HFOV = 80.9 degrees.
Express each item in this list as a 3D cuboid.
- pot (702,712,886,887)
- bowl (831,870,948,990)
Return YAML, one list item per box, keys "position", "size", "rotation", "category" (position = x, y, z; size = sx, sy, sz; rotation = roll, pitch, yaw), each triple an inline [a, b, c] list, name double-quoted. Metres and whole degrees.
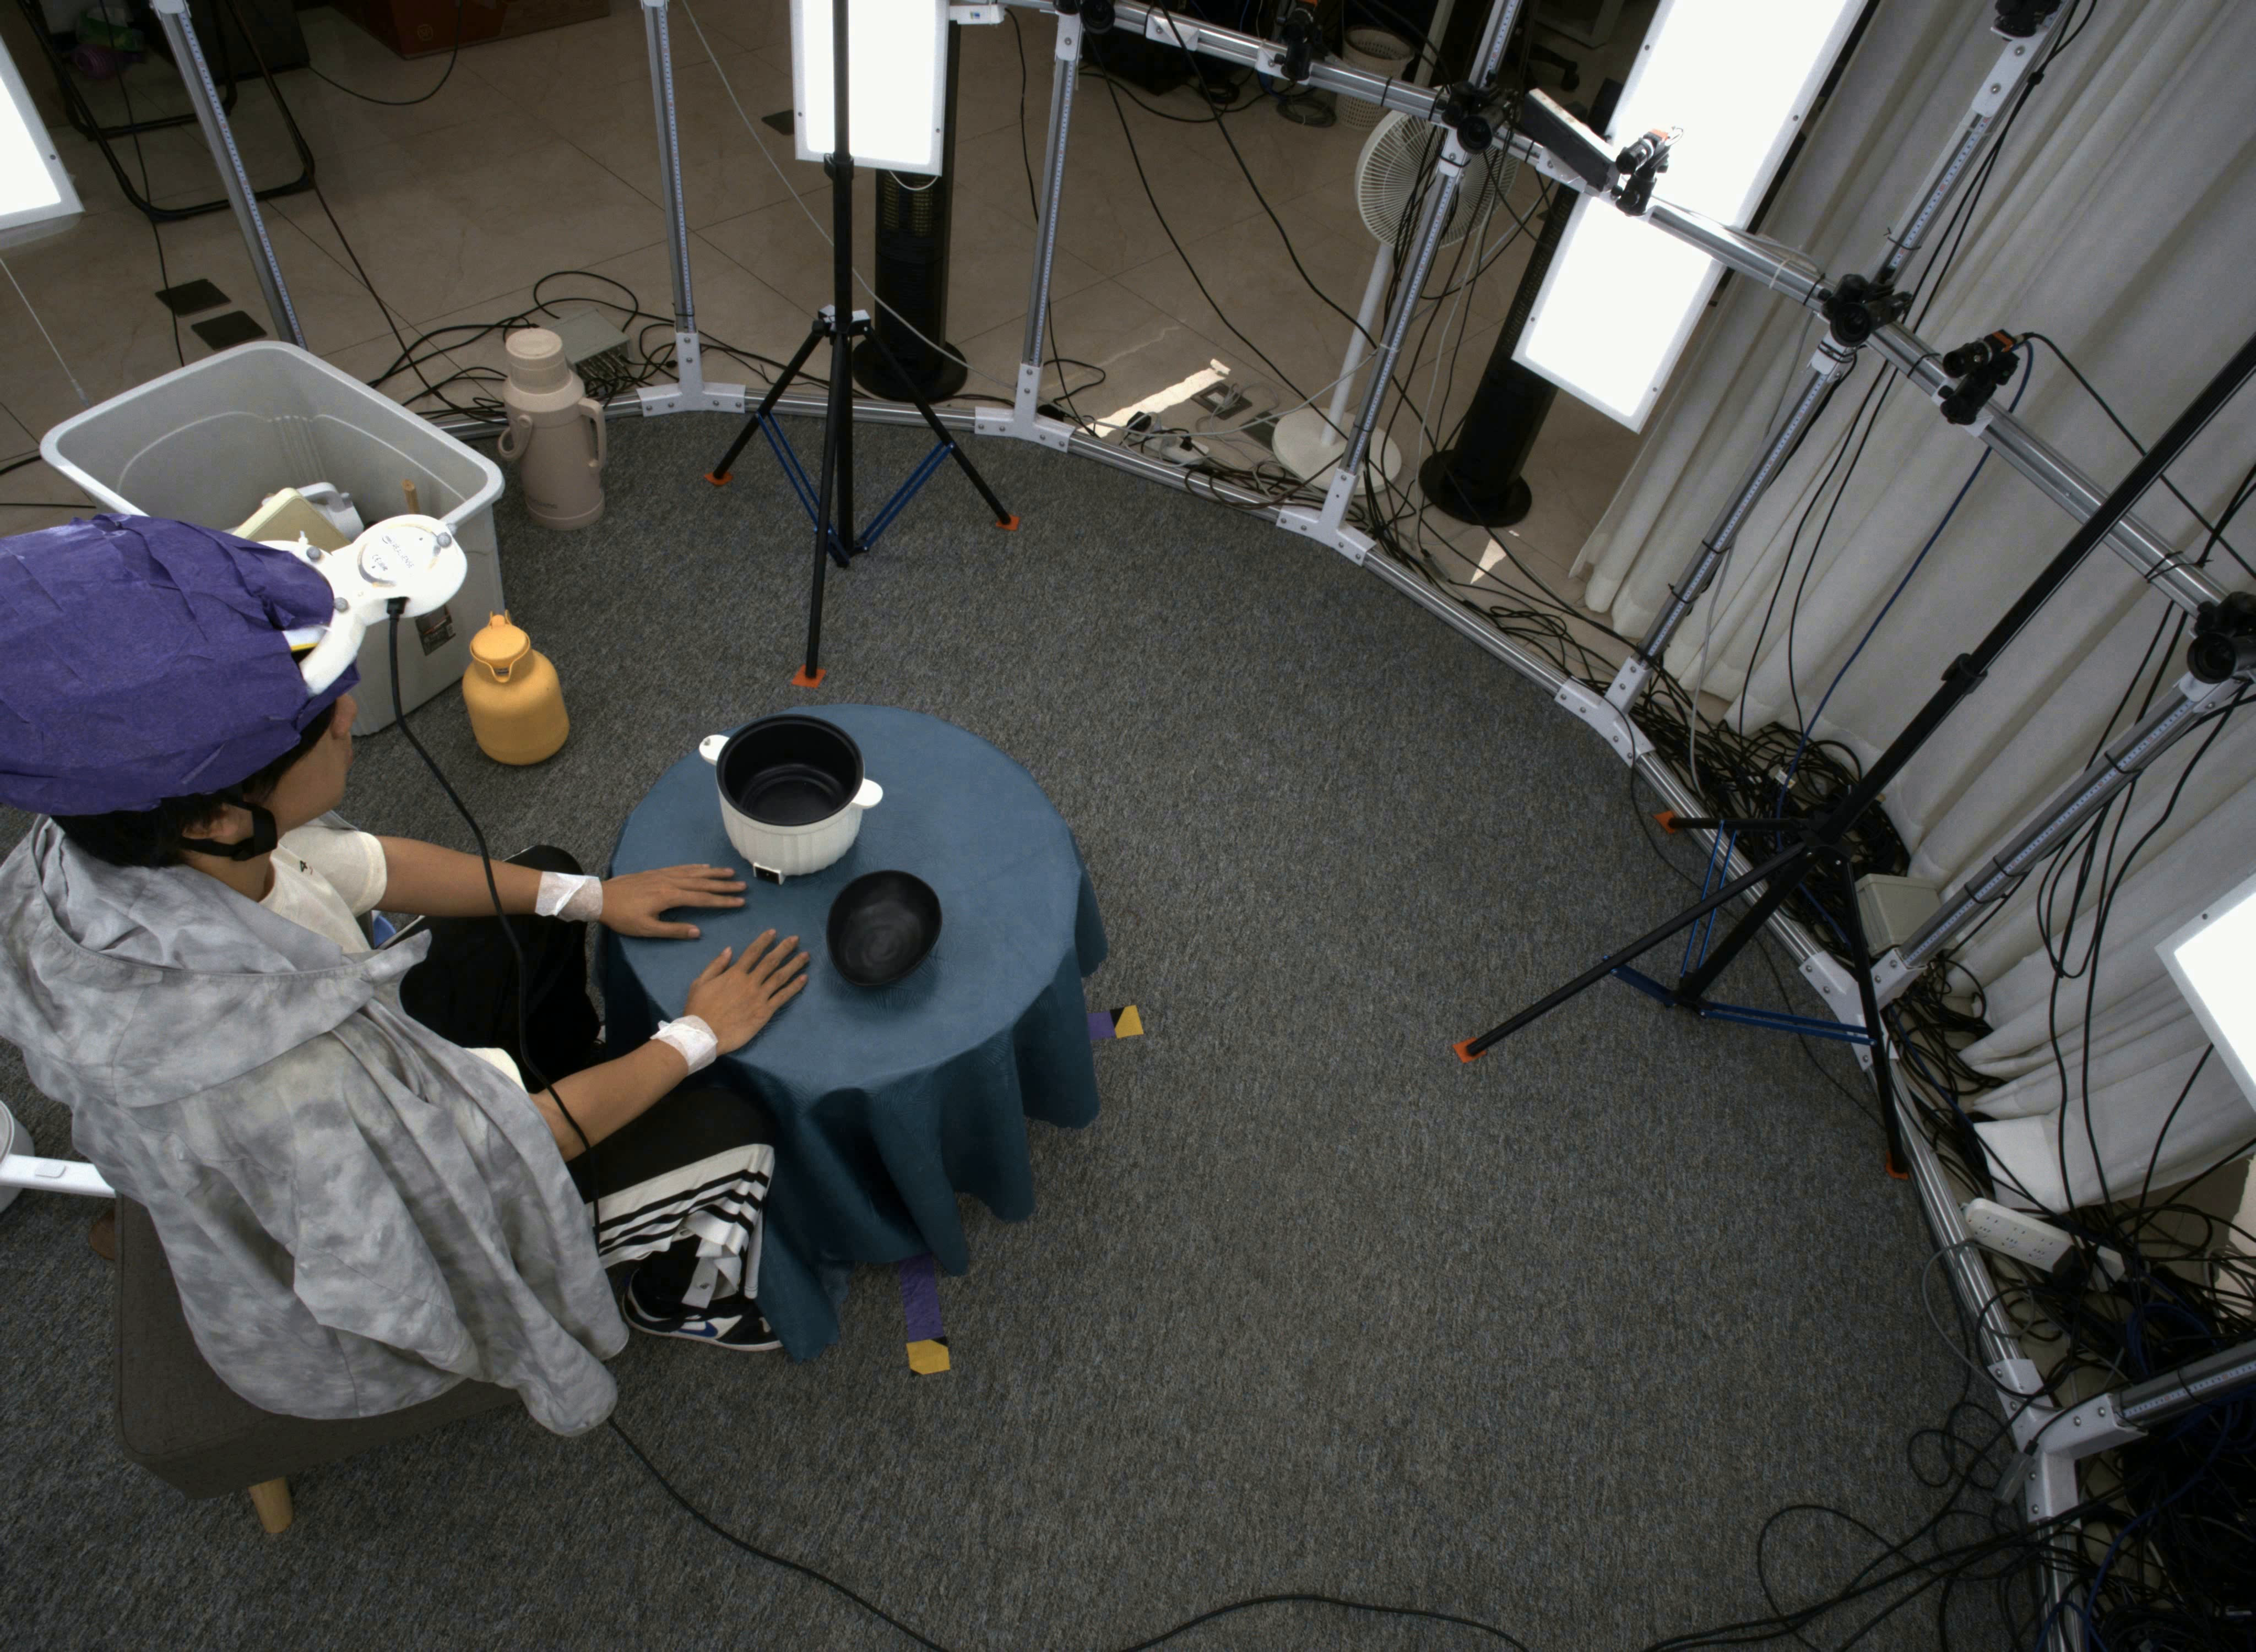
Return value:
- position: [-0.424, -0.037, 1.665]
  size: [0.238, 0.145, 0.188]
  rotation: [17, 55, -1]
  category: "pot"
- position: [-0.296, 0.136, 1.615]
  size: [0.136, 0.068, 0.168]
  rotation: [16, 53, 0]
  category: "bowl"
